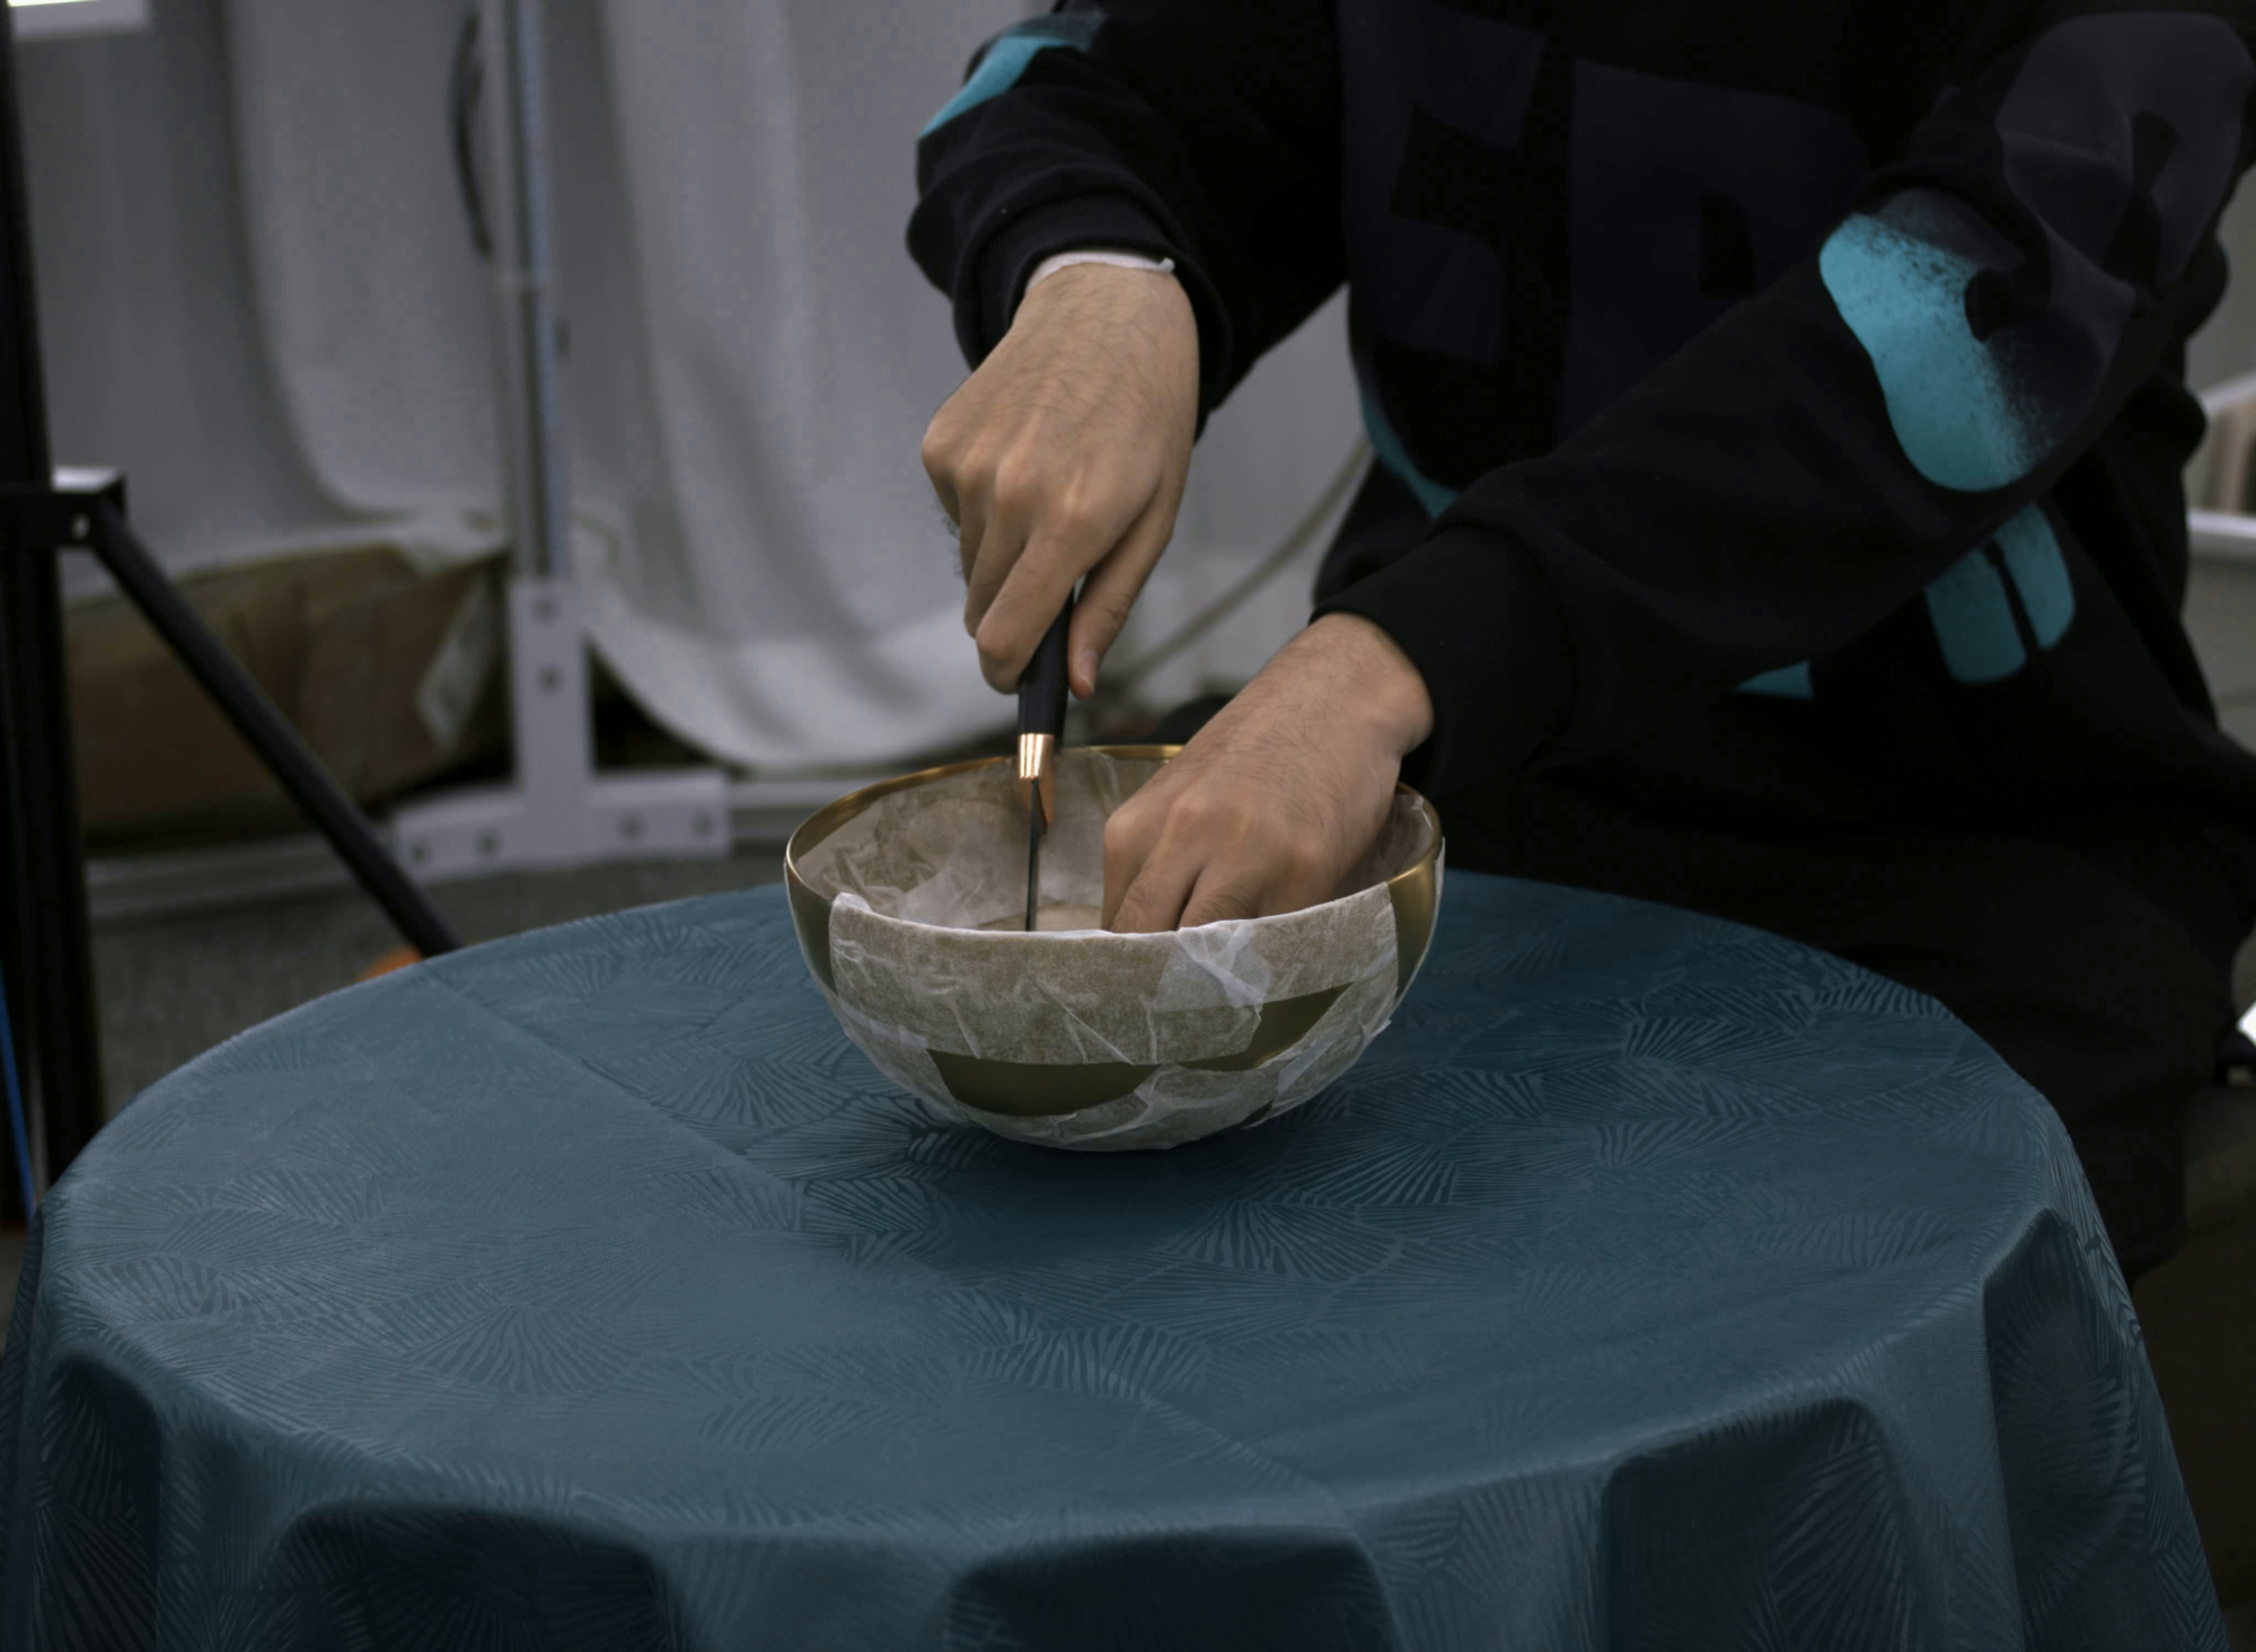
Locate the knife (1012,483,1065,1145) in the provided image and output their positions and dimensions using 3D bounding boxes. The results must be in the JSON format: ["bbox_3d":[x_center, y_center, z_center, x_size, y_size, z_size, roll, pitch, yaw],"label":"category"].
[{"bbox_3d":[-0.029,-0.006,1.673,0.017,0.228,0.026,1,-27,-1],"label":"knife"}]

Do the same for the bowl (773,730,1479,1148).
[{"bbox_3d":[0.000,0.043,1.614,0.213,0.094,0.216,-4,16,0],"label":"bowl"}]
